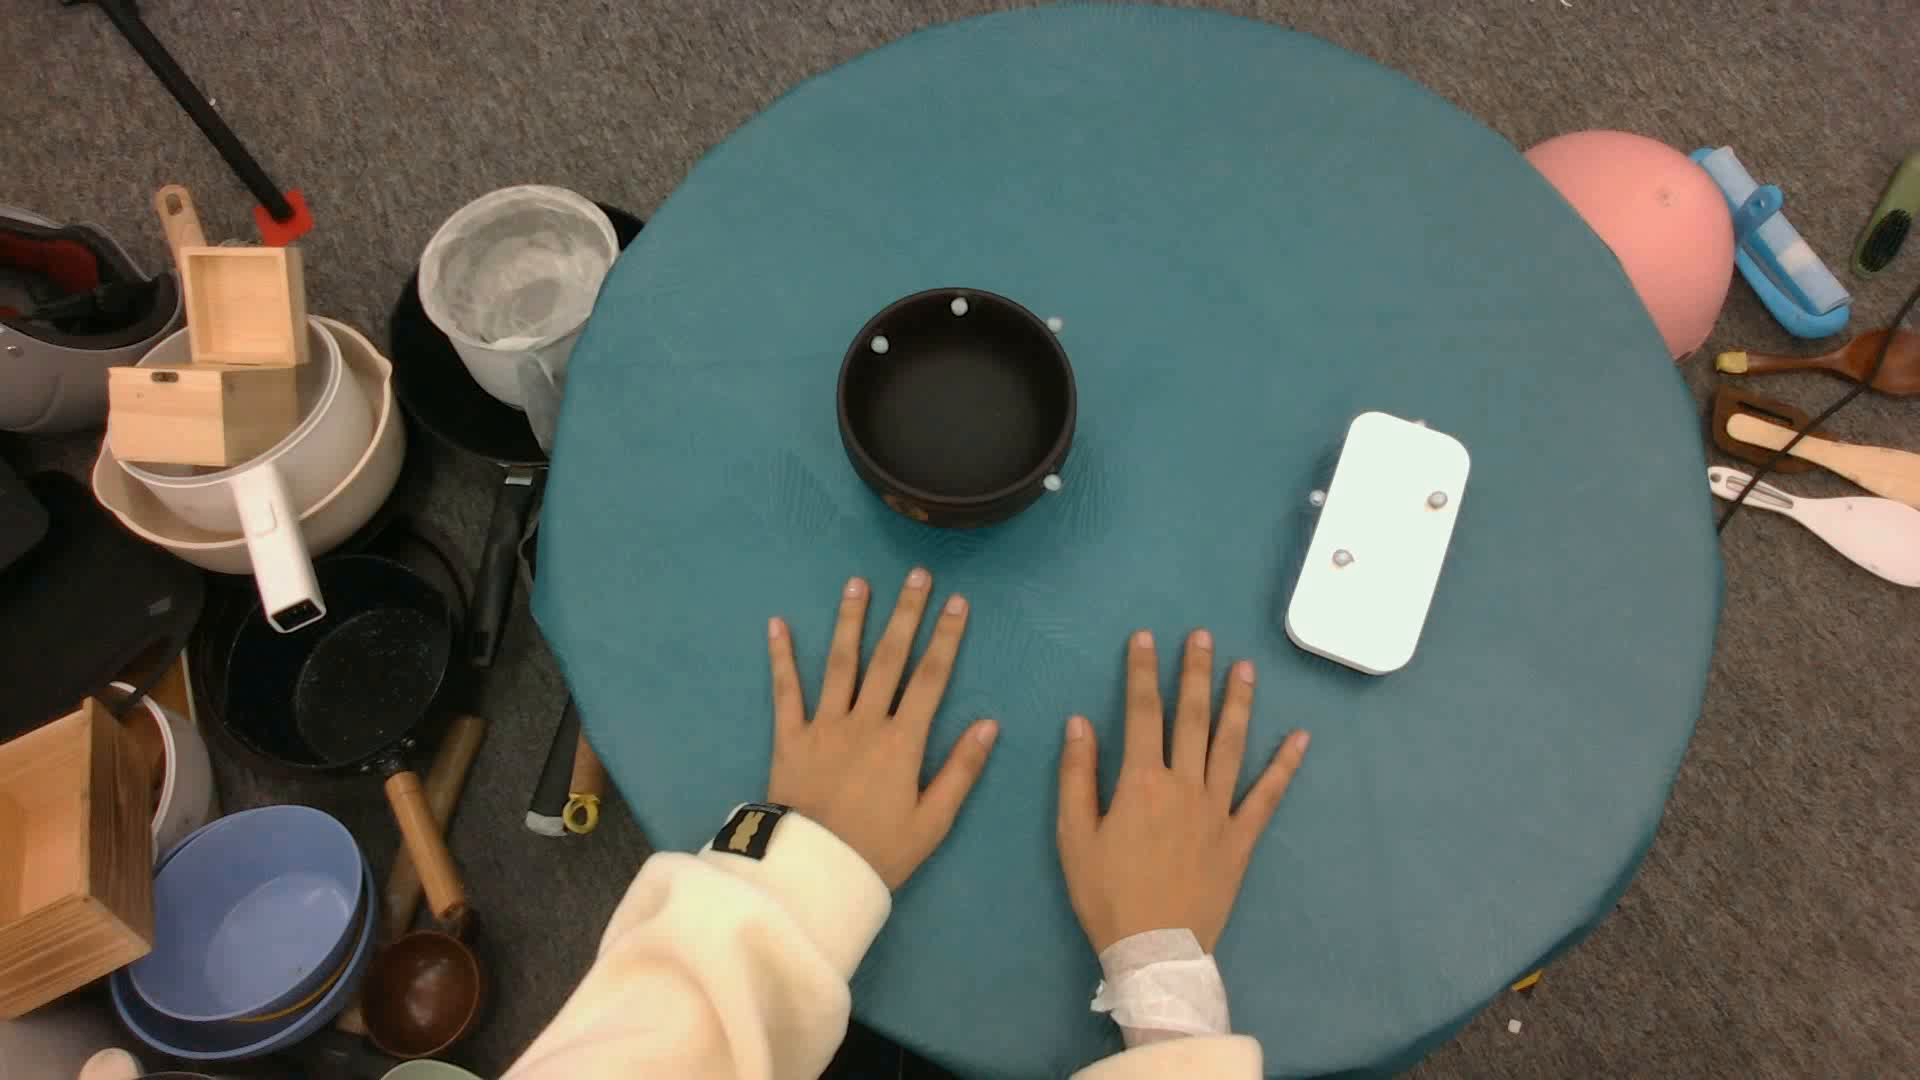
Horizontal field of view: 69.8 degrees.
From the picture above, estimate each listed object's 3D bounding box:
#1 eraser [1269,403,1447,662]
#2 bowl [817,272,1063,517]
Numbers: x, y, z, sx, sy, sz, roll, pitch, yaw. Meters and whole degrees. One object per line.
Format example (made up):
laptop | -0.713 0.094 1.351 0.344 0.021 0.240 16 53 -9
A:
eraser | 0.196 -0.006 0.685 0.063 0.034 0.132 21 70 7
bowl | -0.009 -0.065 0.679 0.118 0.069 0.118 0 70 1
